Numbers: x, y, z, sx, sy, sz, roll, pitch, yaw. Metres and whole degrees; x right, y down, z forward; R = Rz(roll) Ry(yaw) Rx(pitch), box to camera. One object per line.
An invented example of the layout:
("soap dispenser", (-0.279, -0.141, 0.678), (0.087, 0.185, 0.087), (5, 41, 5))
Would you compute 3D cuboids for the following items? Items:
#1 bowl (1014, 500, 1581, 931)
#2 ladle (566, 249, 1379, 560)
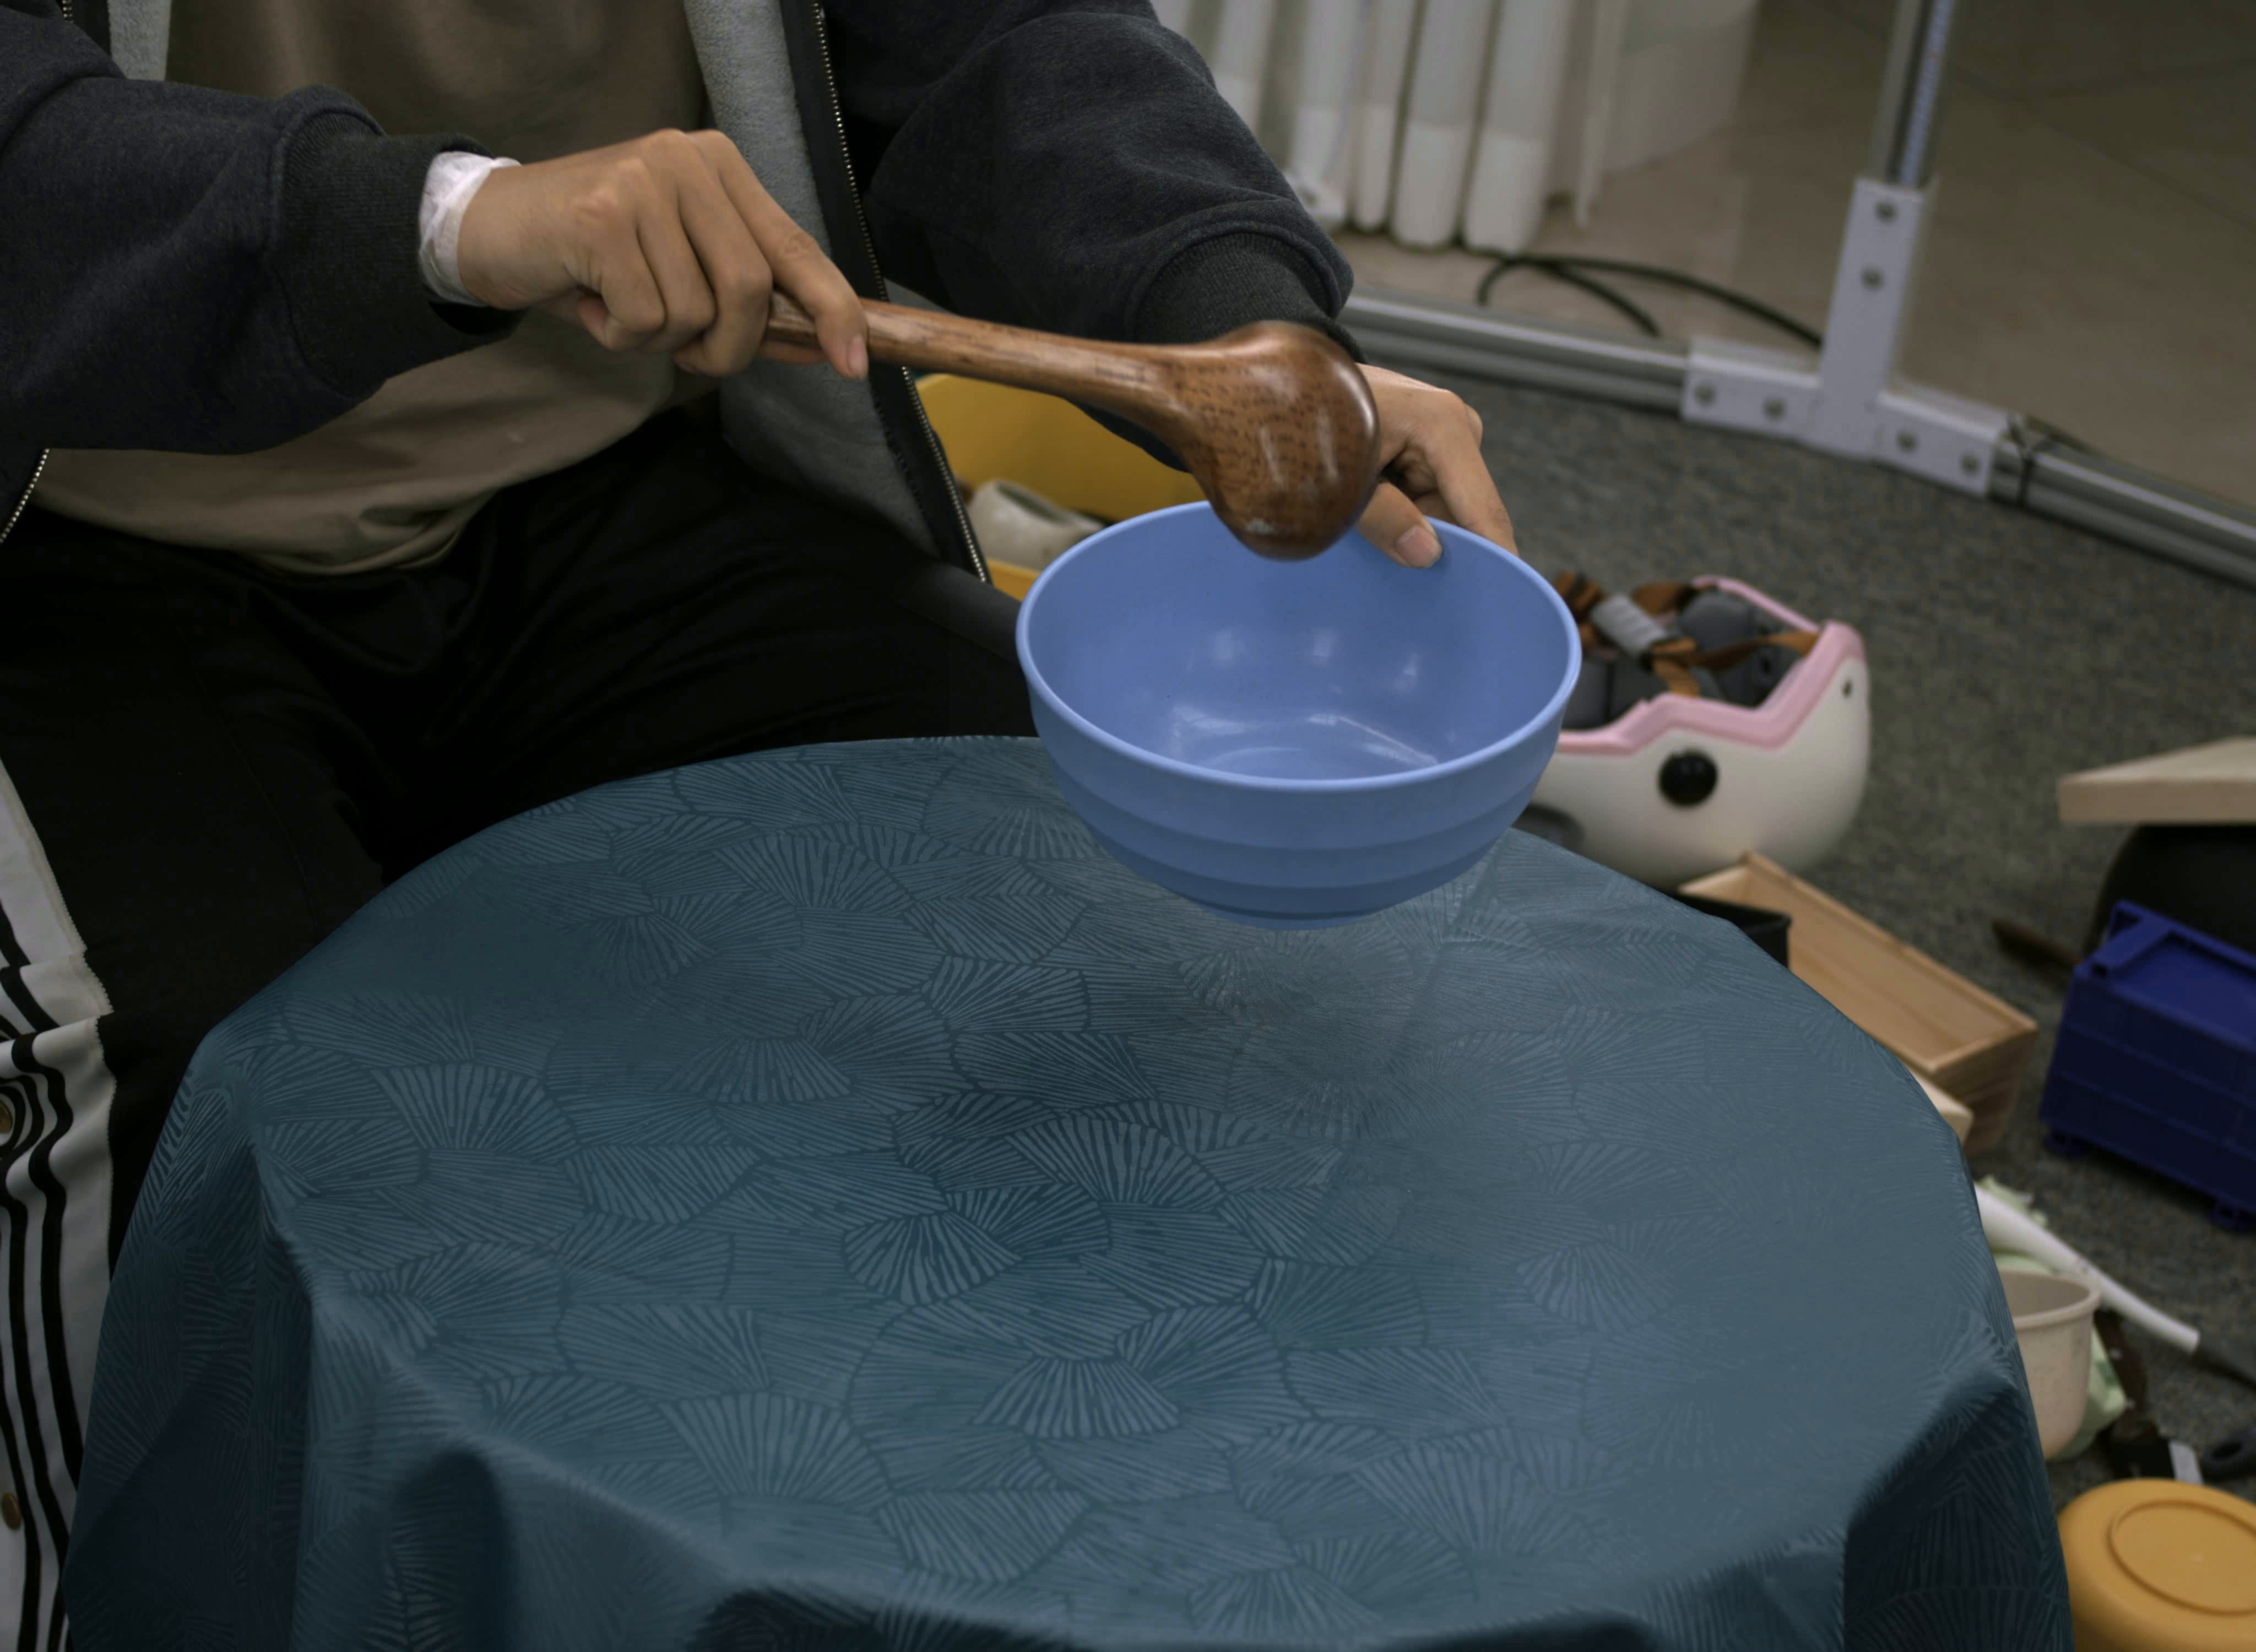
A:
("bowl", (0.058, -0.027, 1.861), (0.196, 0.095, 0.198), (0, 32, 0))
("ladle", (-0.051, -0.151, 1.789), (0.274, 0.082, 0.076), (10, -18, 5))
